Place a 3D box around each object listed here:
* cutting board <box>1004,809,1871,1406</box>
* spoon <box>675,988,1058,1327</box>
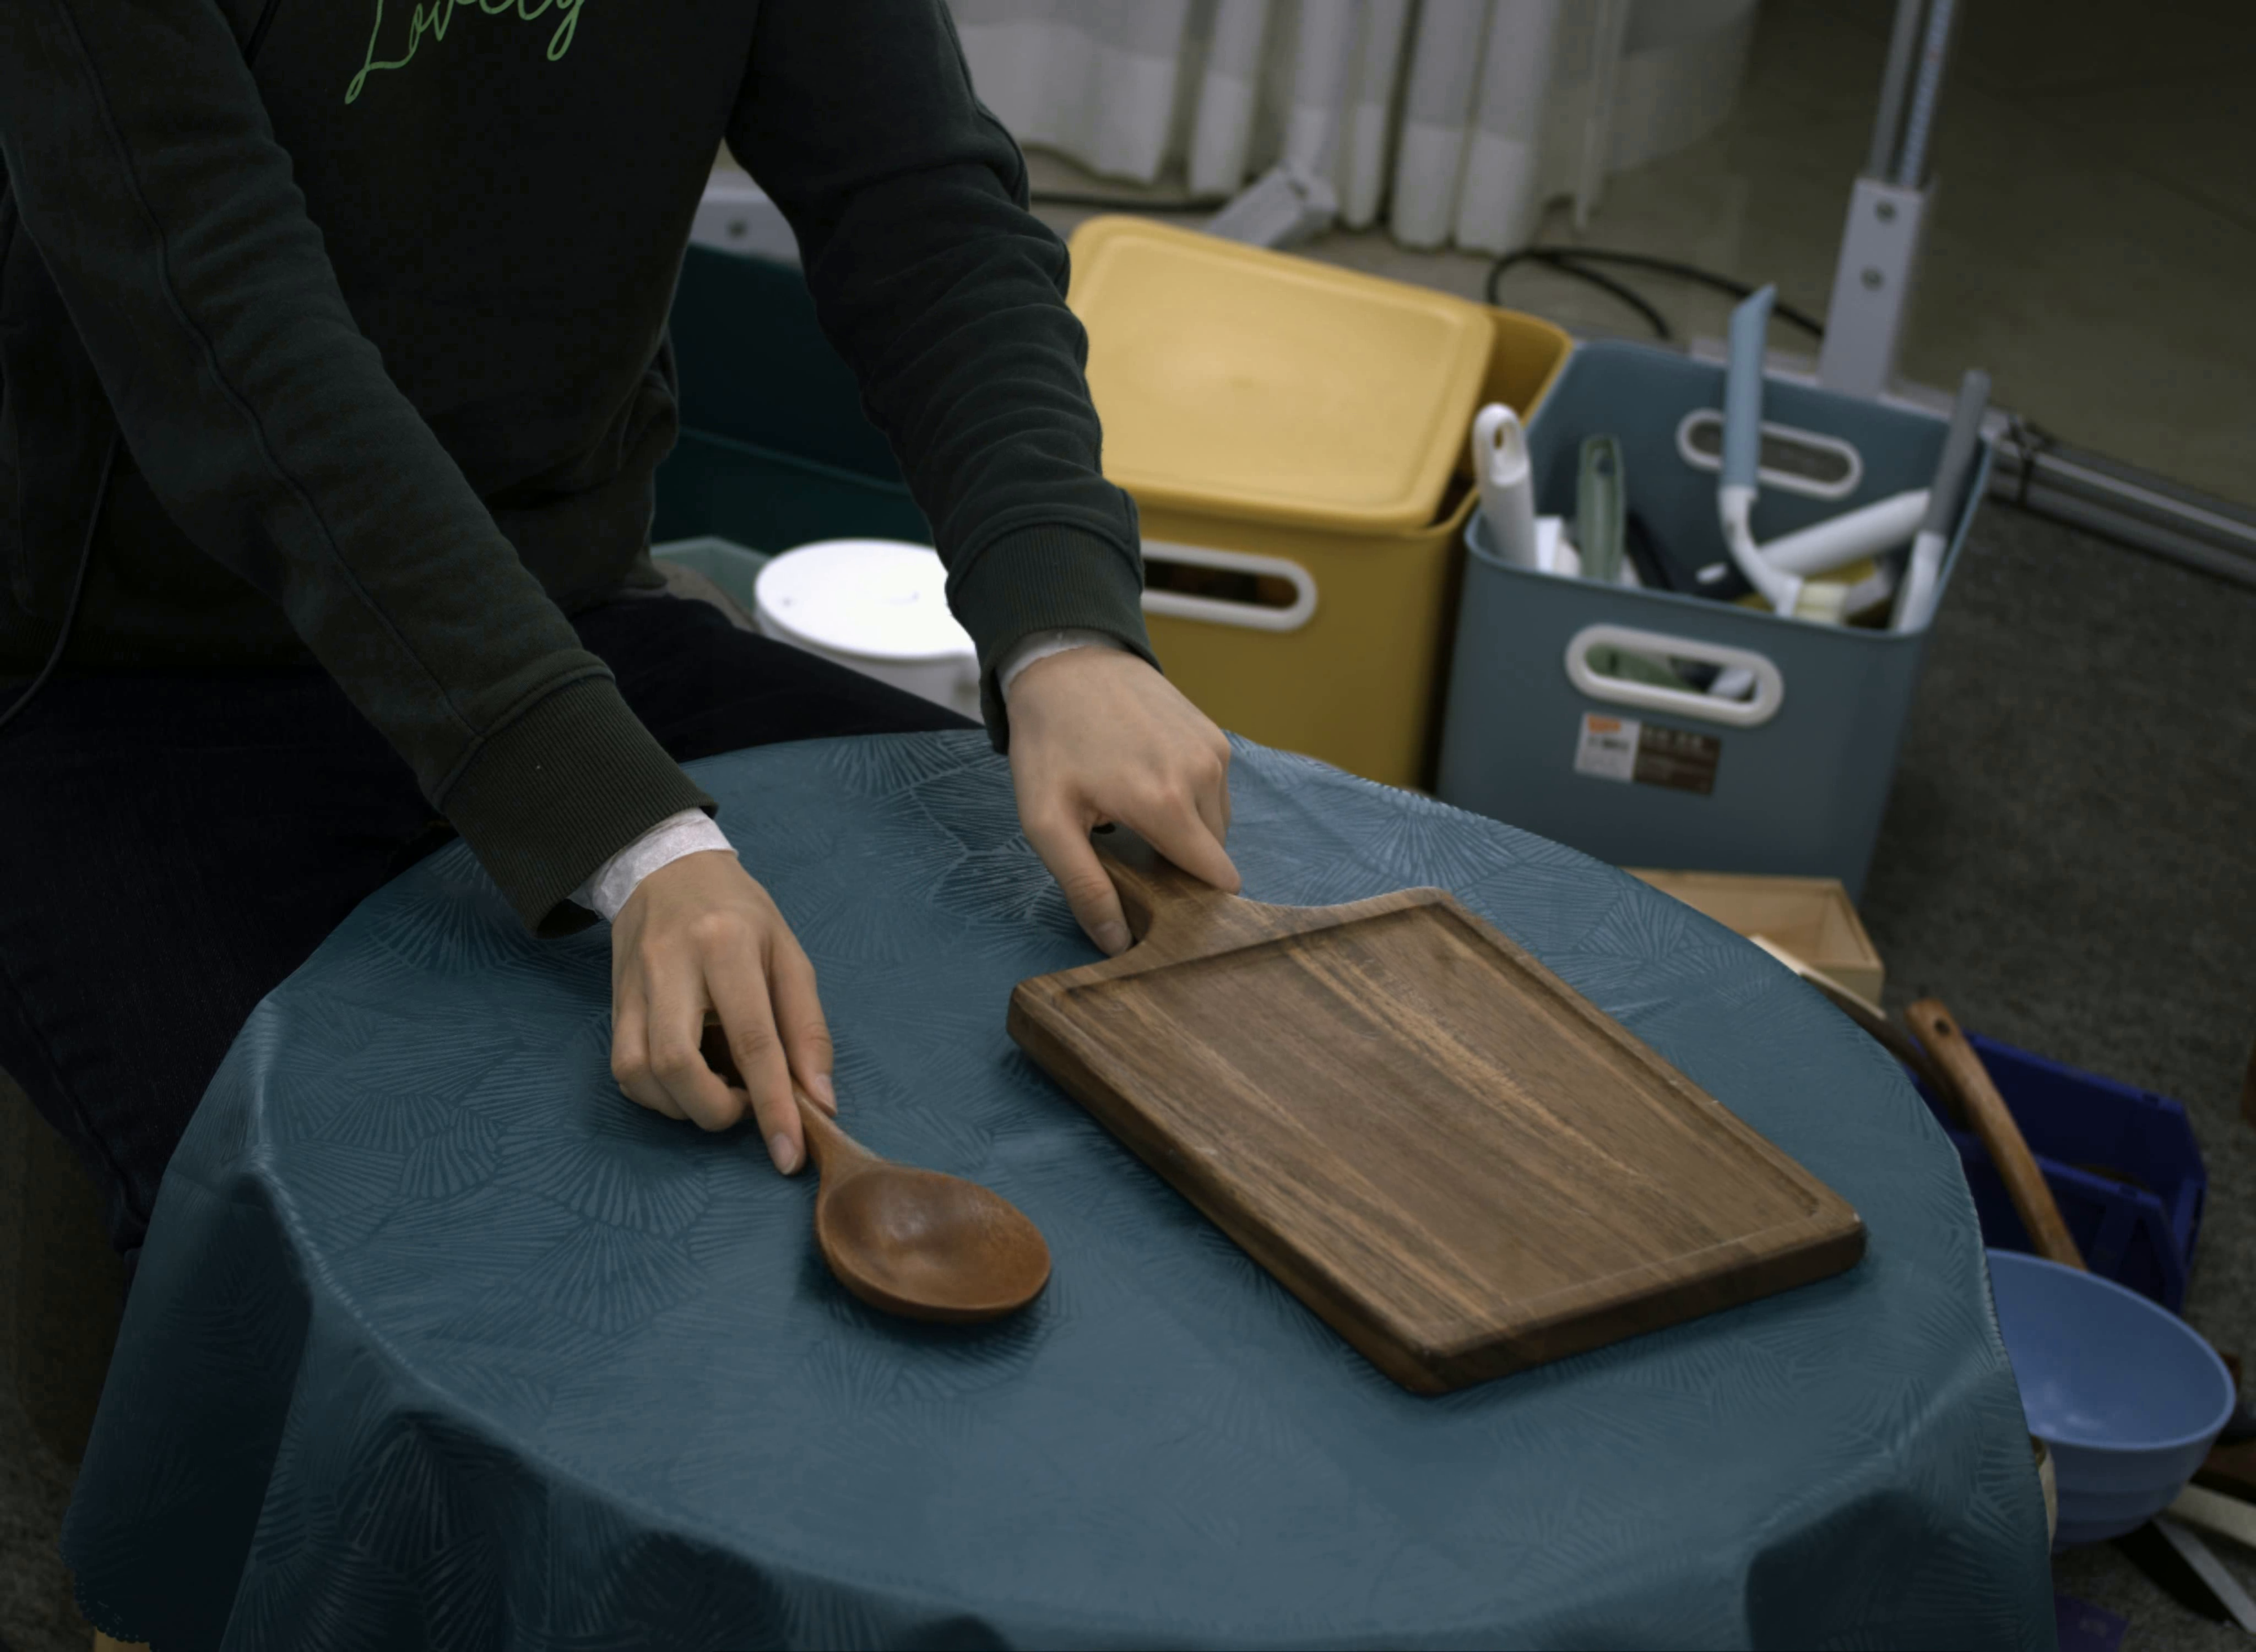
[{"bbox_3d":[0.077,0.082,1.870,0.200,0.023,0.355,-13,34,-32],"label":"cutting board"},{"bbox_3d":[-0.096,0.111,1.782,0.075,0.017,0.218,-12,33,-29],"label":"spoon"}]
